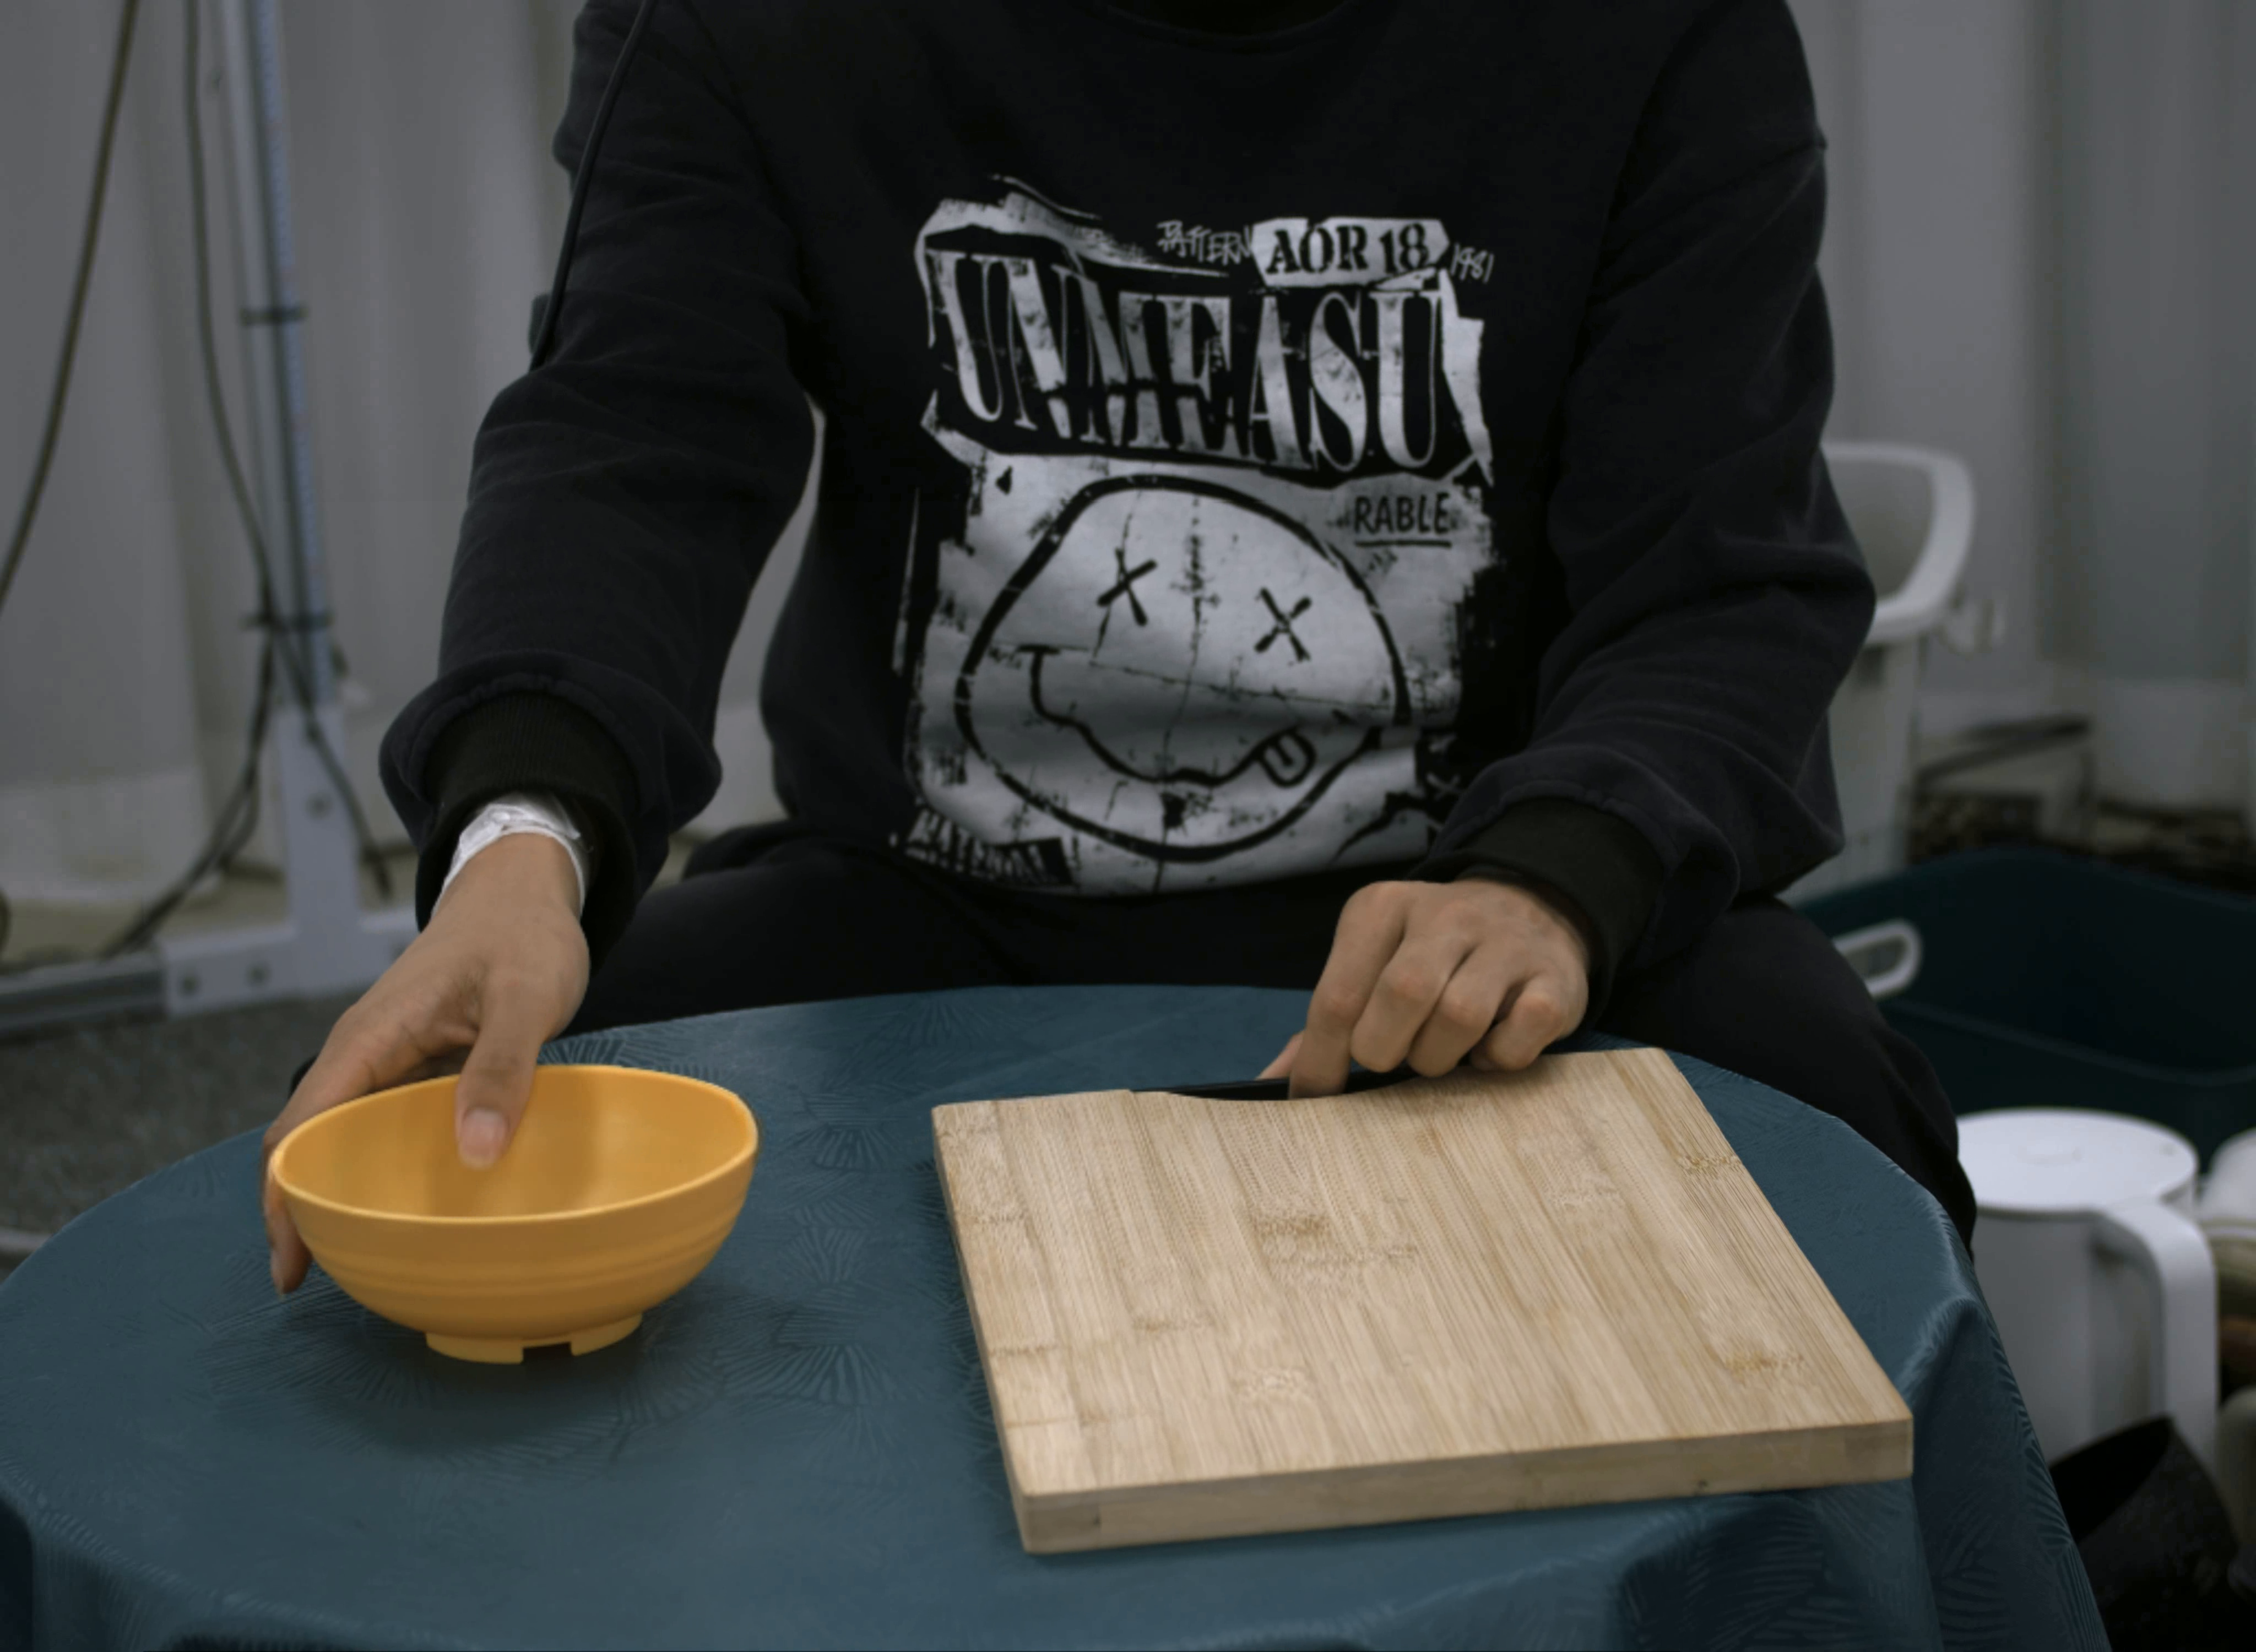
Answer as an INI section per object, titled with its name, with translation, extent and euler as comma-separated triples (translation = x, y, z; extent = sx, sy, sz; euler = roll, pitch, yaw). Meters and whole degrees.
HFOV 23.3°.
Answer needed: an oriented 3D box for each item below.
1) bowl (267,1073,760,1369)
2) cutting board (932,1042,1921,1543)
[bowl]
translation = -0.180, 0.121, 1.615
extent = 0.145, 0.060, 0.146
euler = -1, 13, 0
[cutting board]
translation = 0.074, 0.131, 1.607
extent = 0.250, 0.023, 0.351
euler = -4, 15, -6
